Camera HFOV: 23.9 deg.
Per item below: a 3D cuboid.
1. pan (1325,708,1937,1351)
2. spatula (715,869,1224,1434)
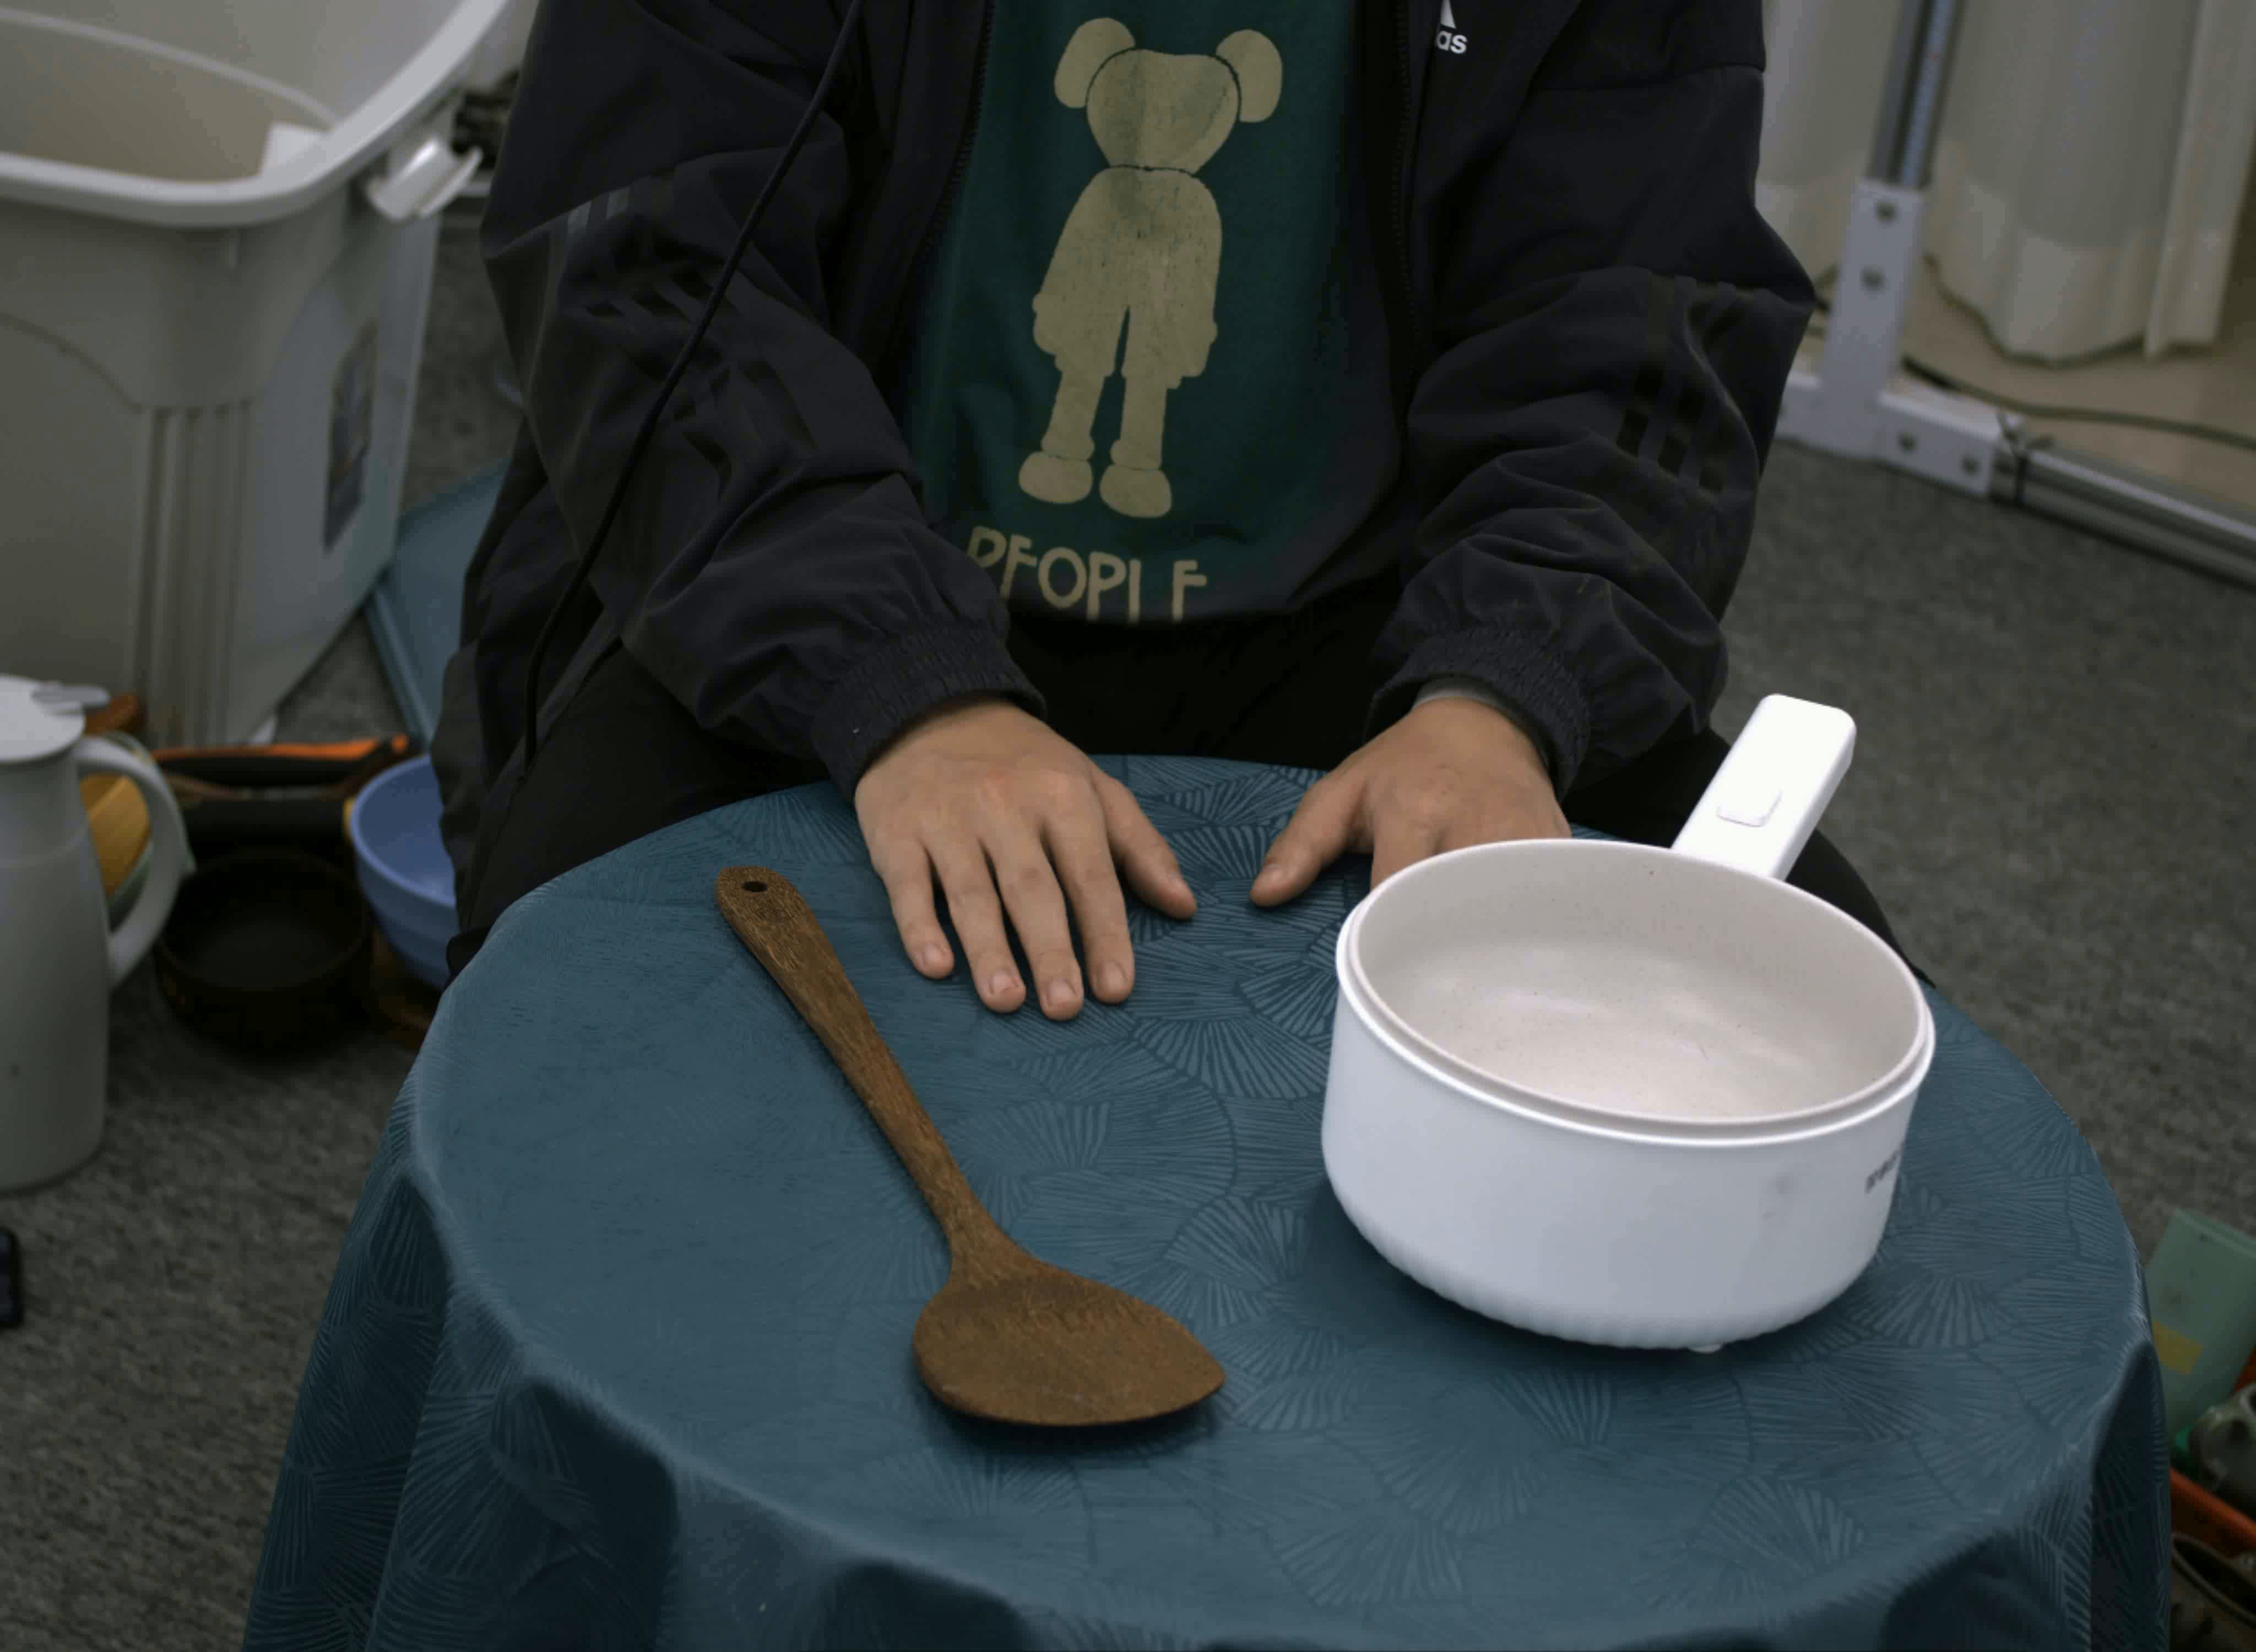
[{"bbox_3d":[0.191,0.065,1.857,0.201,0.102,0.355,14,26,16],"label":"pan"},{"bbox_3d":[-0.075,0.102,1.815,0.095,0.016,0.389,-4,28,-21],"label":"spatula"}]
